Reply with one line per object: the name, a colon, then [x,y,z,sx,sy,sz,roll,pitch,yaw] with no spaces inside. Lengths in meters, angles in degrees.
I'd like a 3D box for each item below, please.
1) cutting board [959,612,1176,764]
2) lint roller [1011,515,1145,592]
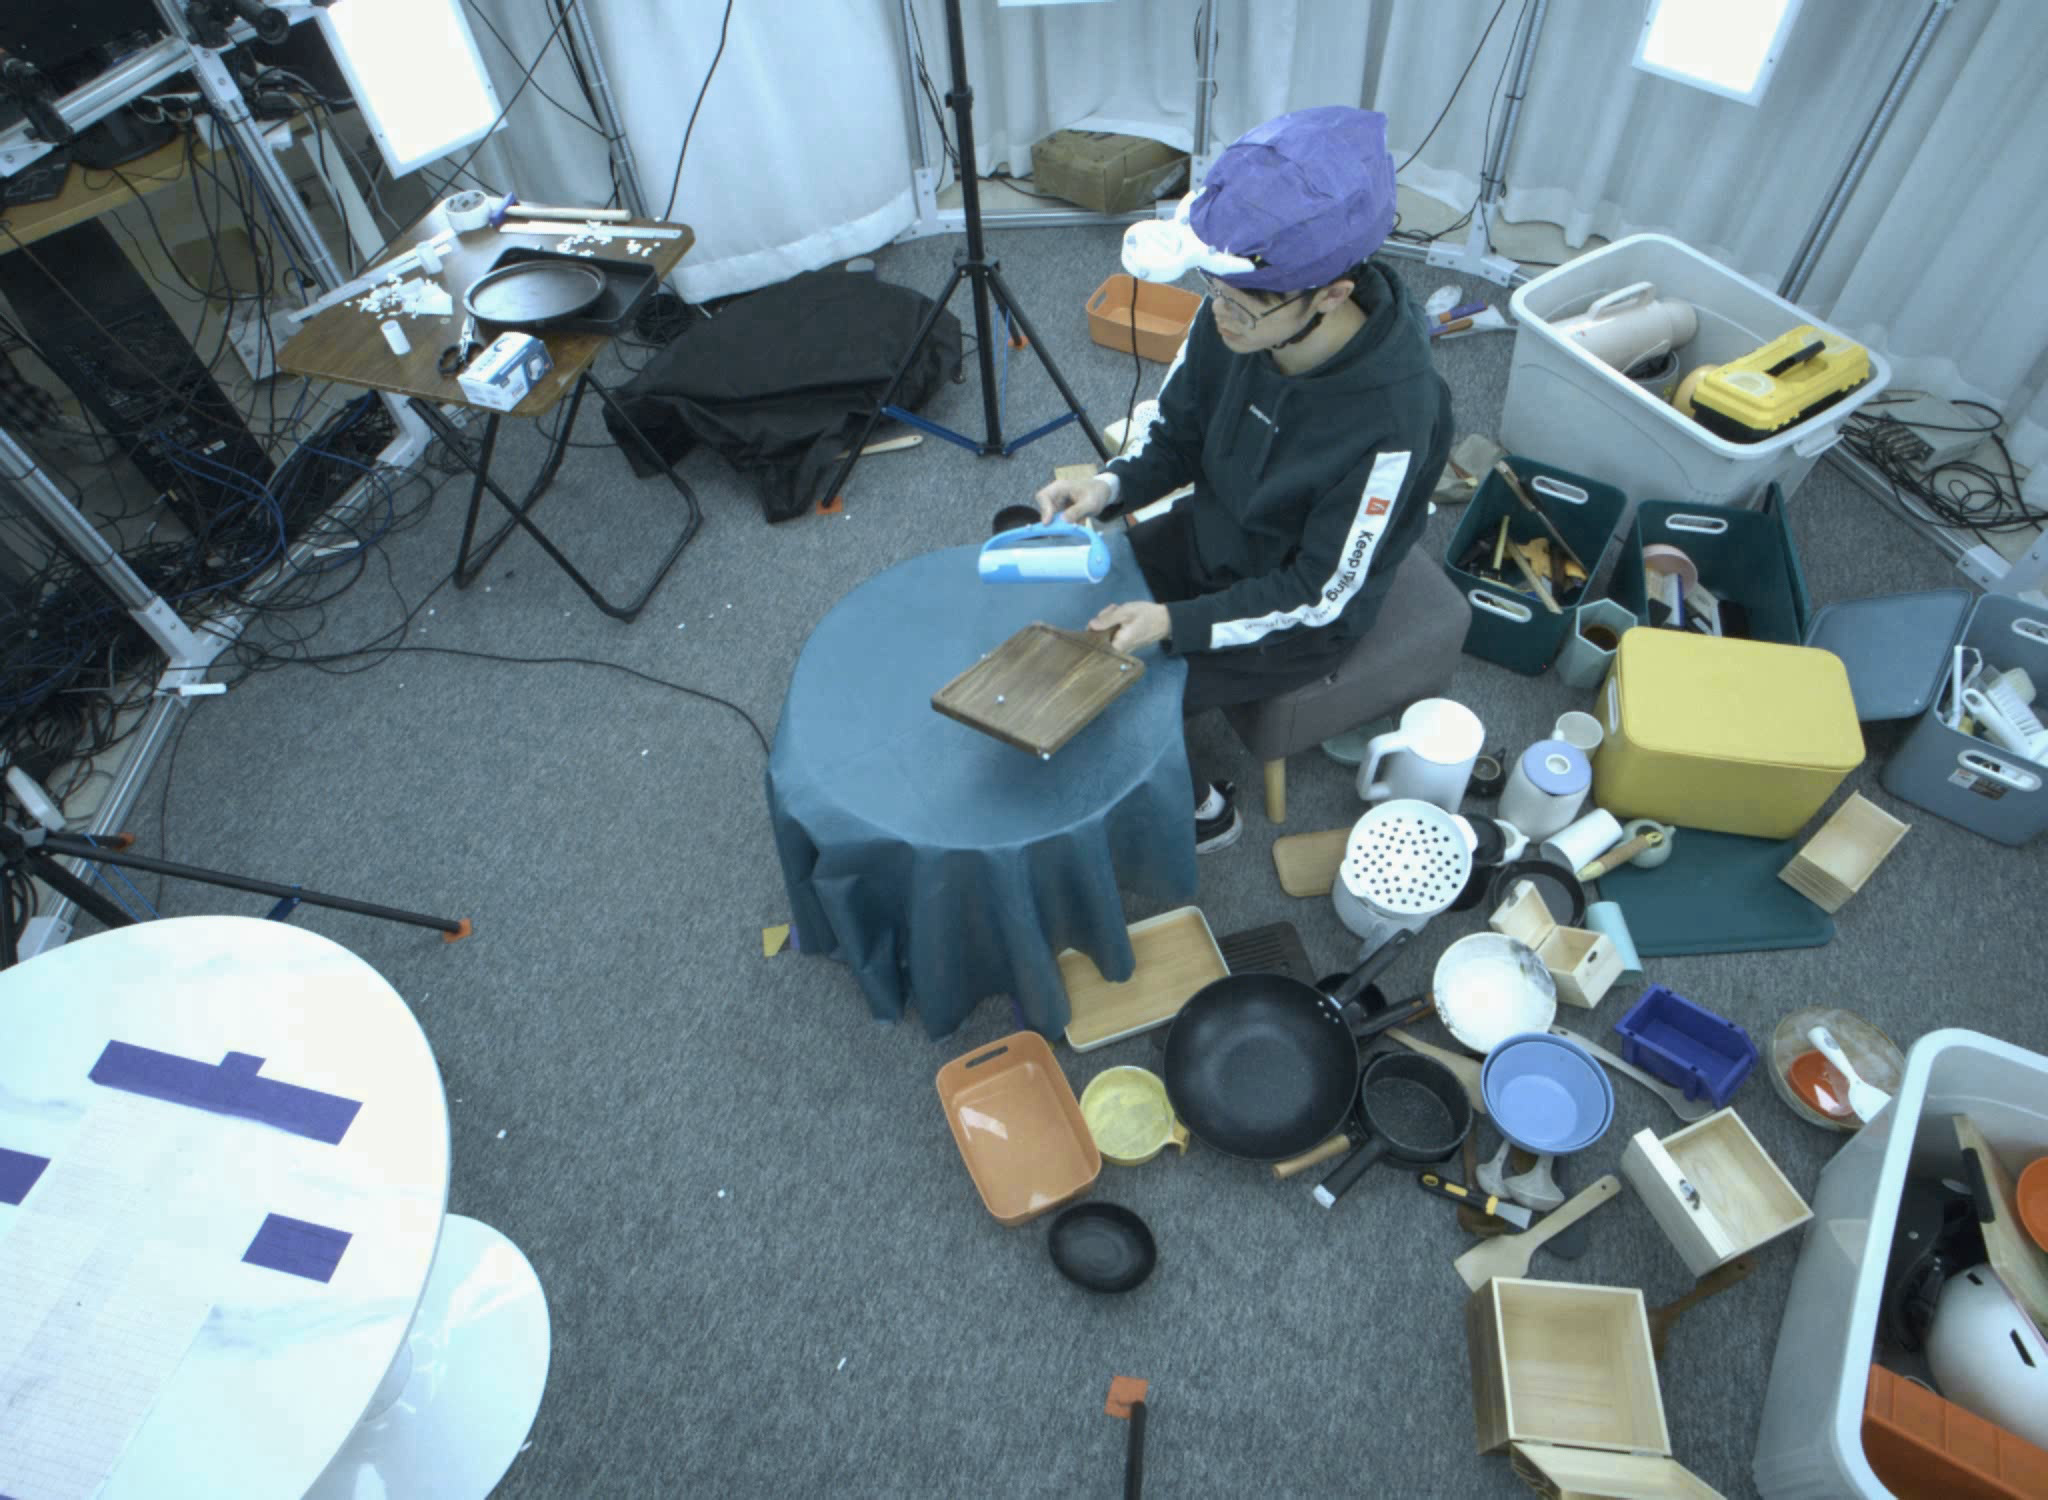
cutting board: [0.093,-0.109,1.717,0.197,0.023,0.355,27,45,26]
lint roller: [0.098,-0.302,1.796,0.224,0.069,0.180,1,49,37]
